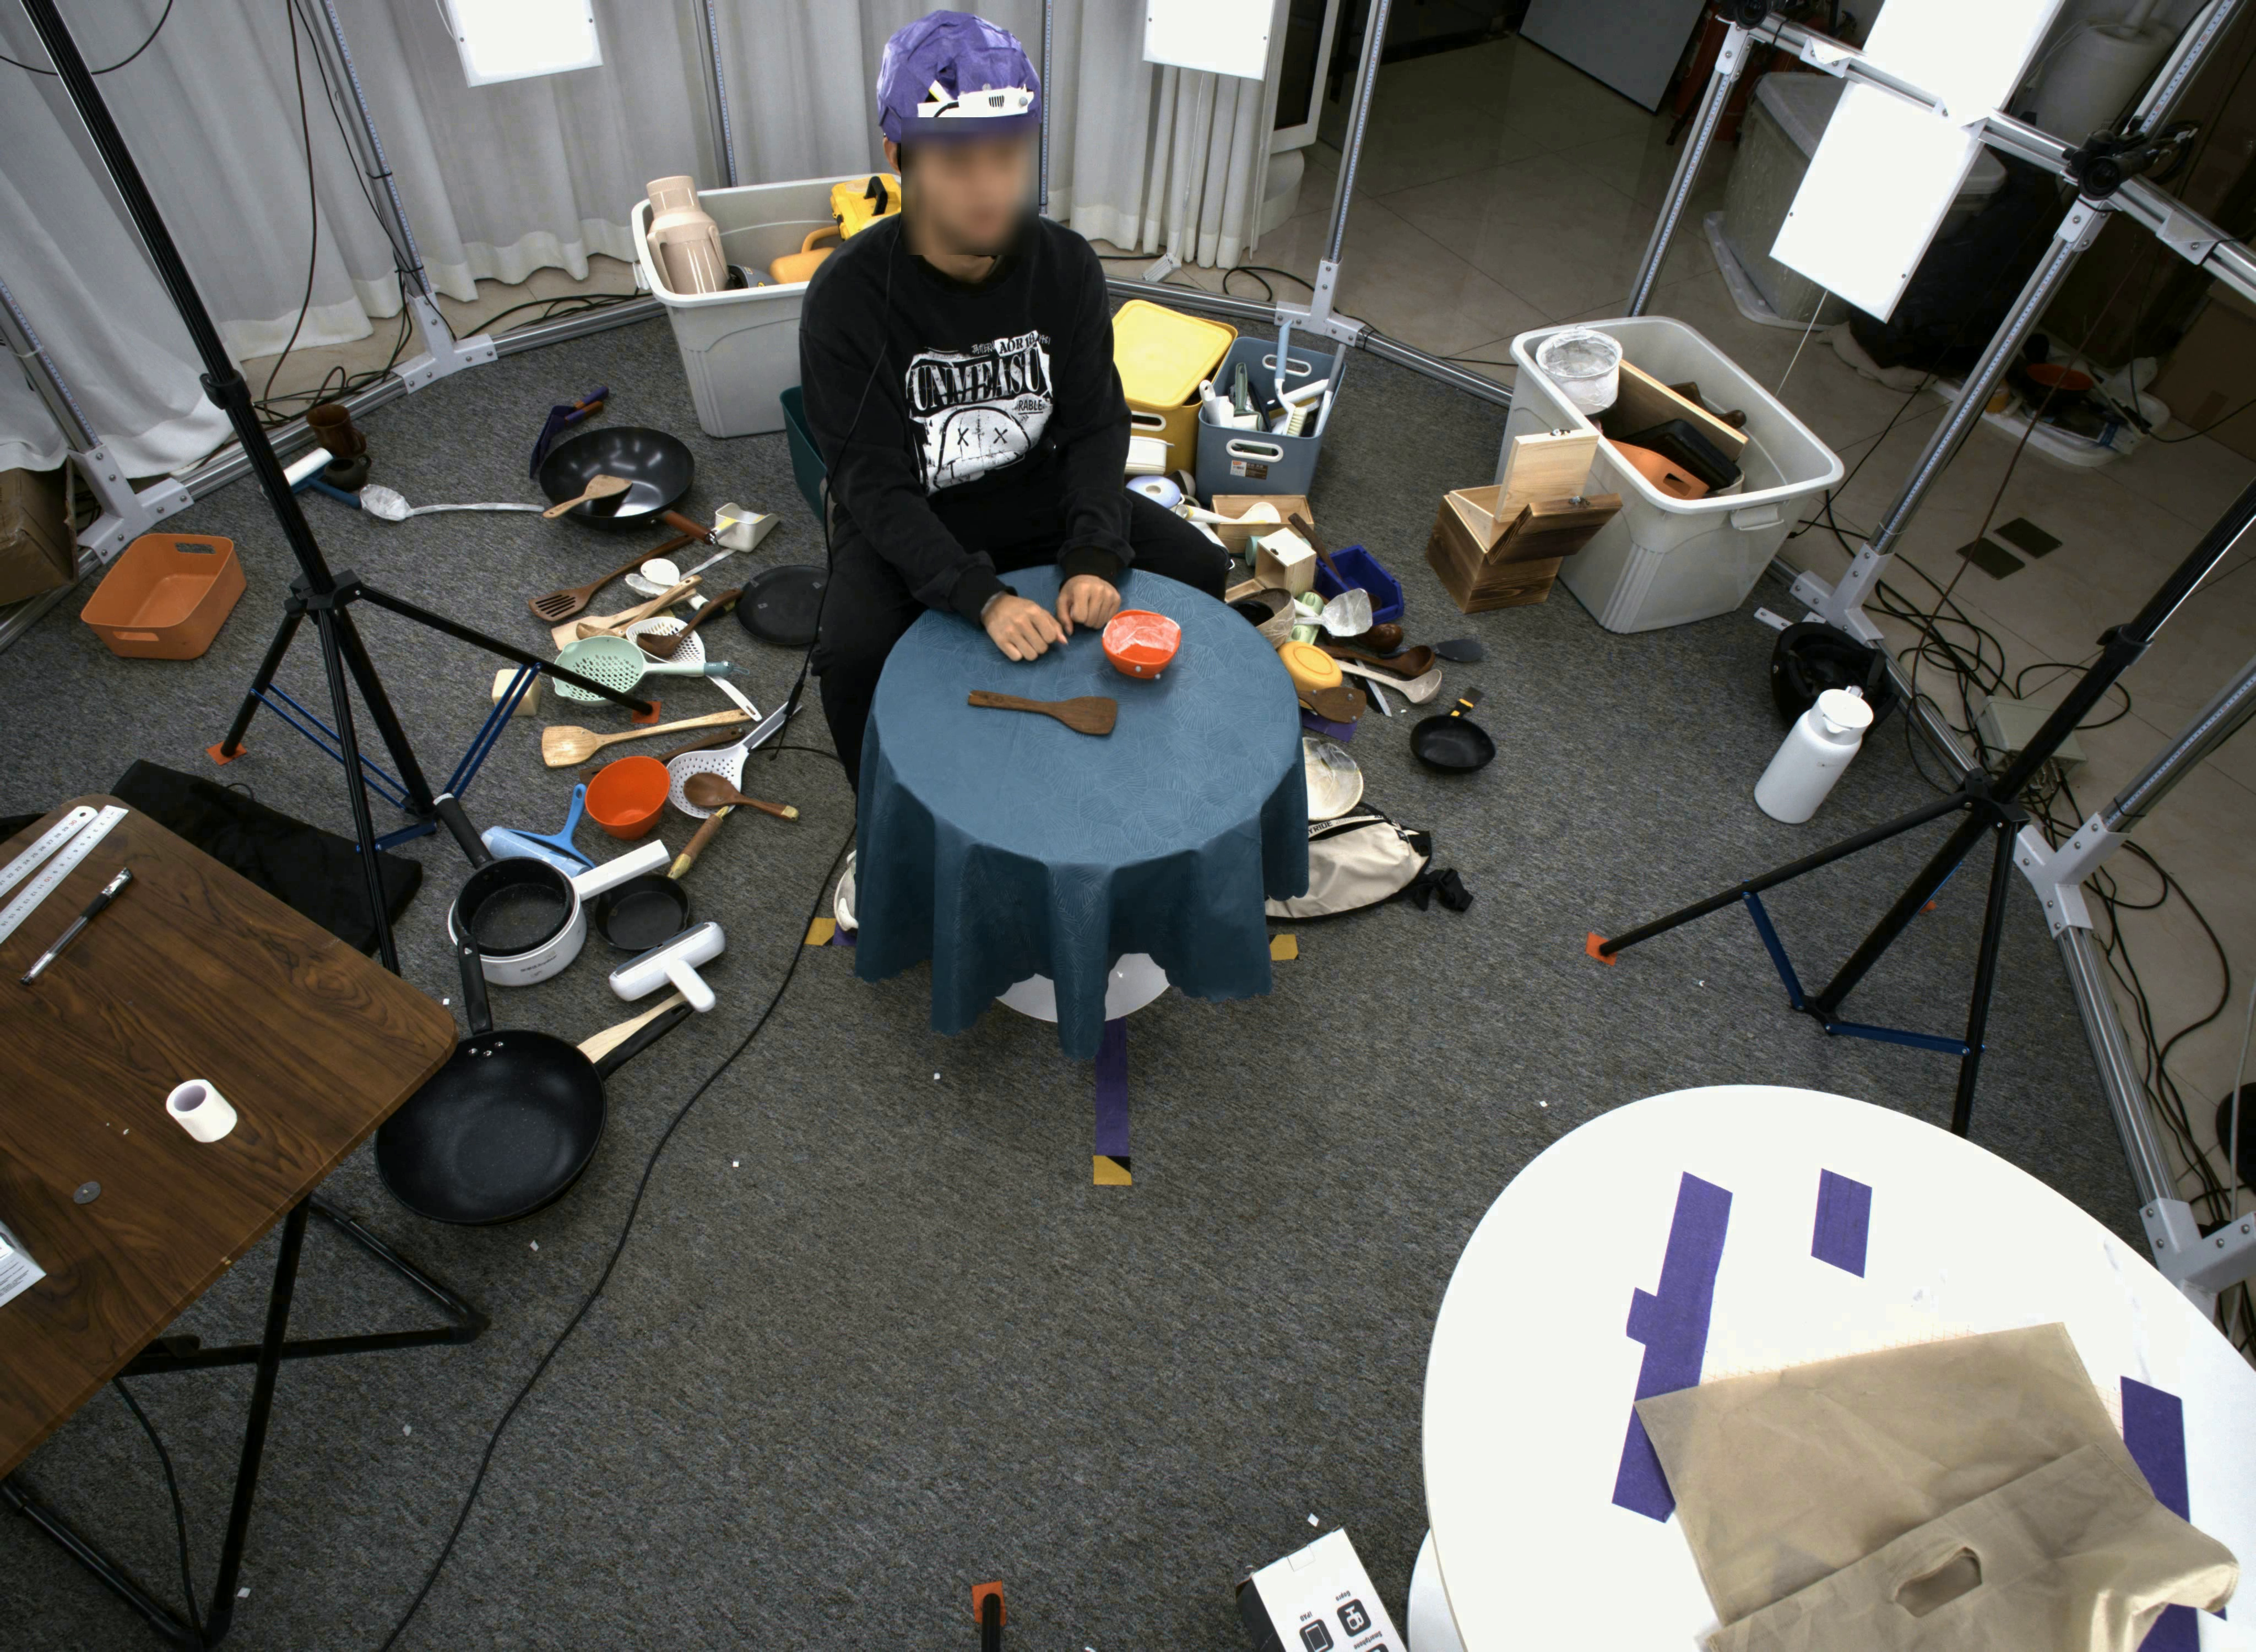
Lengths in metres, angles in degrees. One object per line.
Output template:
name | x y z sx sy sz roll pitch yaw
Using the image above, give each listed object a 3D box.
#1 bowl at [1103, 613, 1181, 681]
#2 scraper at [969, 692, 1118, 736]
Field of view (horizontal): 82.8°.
bowl | 0.019 -0.256 1.879 0.119 0.050 0.122 1 50 -1
scraper | -0.120 -0.166 1.816 0.211 0.010 0.077 8 48 5
